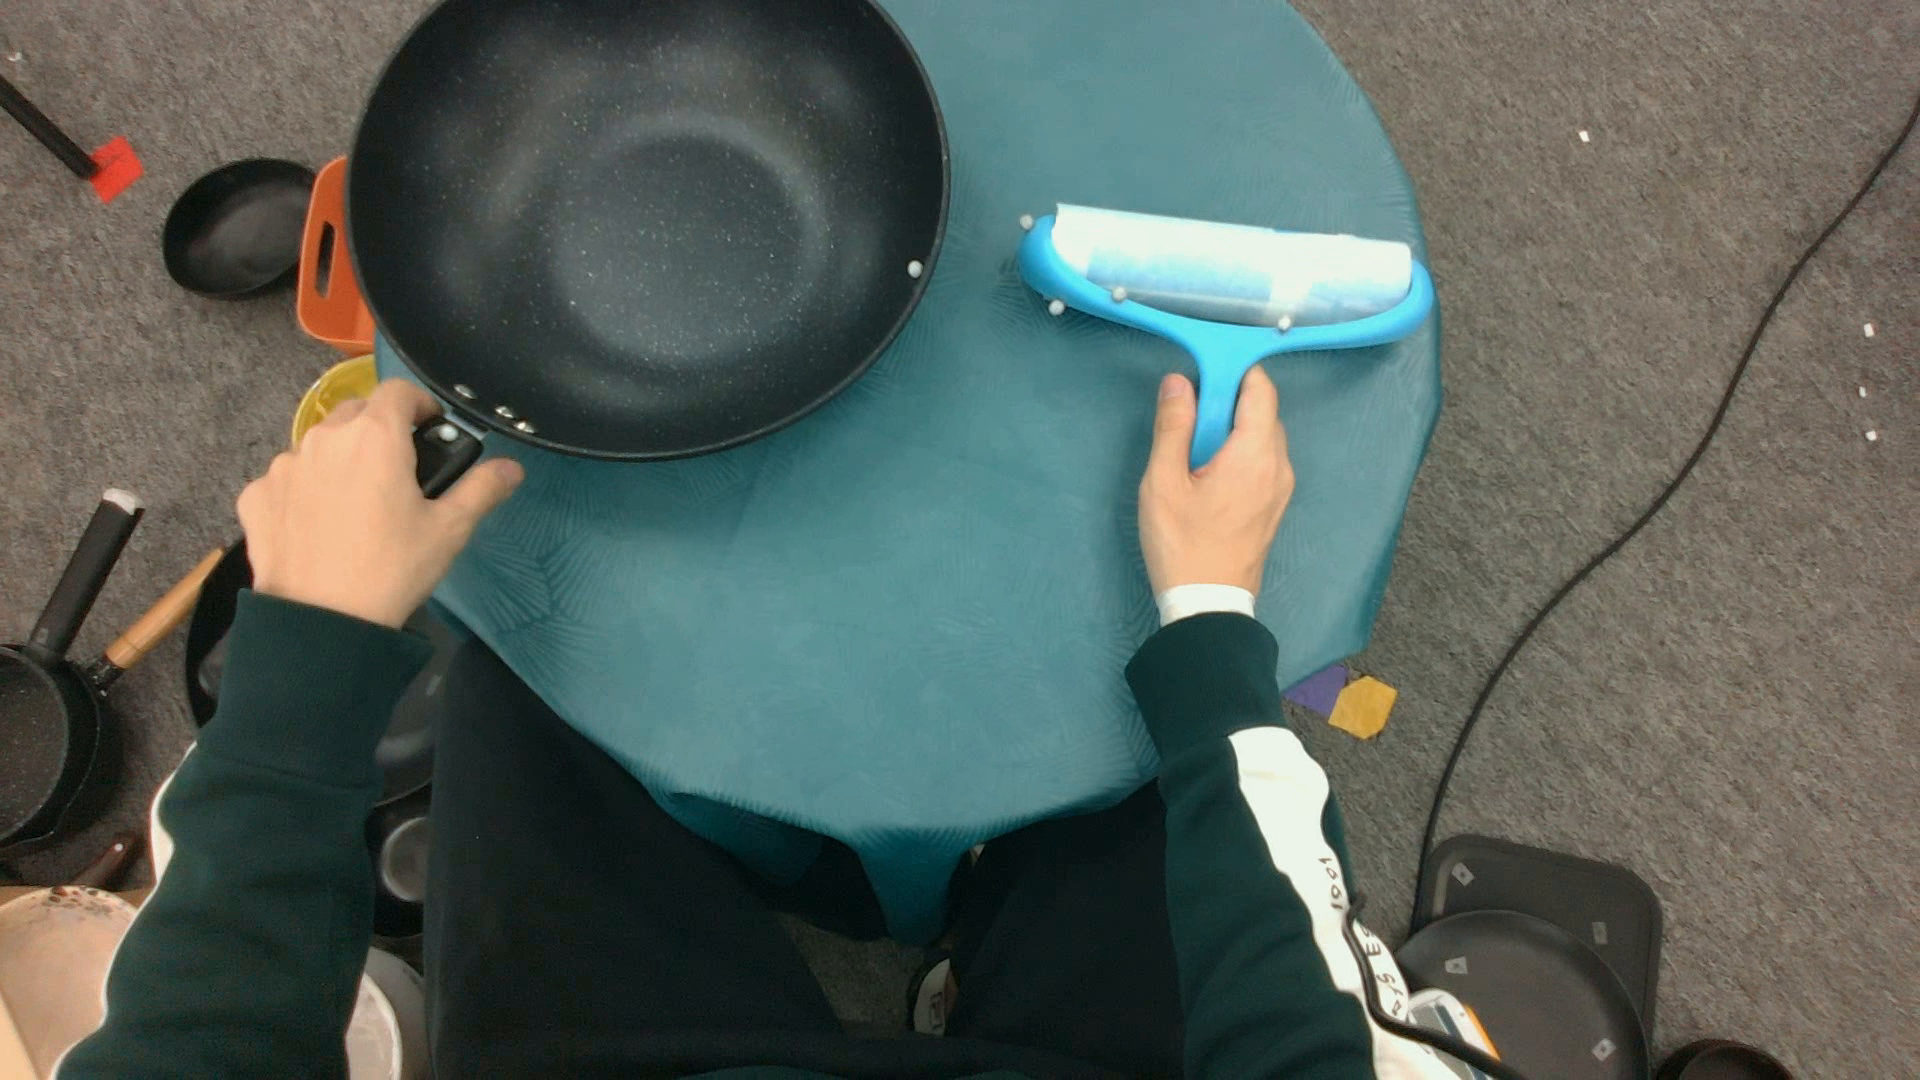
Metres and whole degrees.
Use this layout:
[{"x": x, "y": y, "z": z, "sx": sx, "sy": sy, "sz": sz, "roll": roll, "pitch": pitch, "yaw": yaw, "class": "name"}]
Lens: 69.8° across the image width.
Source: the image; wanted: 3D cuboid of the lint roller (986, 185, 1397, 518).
[{"x": 0.127, "y": -0.106, "z": 0.751, "sx": 0.229, "sy": 0.068, "sz": 0.180, "roll": 3, "pitch": 74, "yaw": -4, "class": "lint roller"}]

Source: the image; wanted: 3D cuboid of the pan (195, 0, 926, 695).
[{"x": -0.214, "y": -0.121, "z": 0.717, "sx": 0.310, "sy": 0.111, "sz": 0.478, "roll": 29, "pitch": 76, "yaw": 7, "class": "pan"}]
